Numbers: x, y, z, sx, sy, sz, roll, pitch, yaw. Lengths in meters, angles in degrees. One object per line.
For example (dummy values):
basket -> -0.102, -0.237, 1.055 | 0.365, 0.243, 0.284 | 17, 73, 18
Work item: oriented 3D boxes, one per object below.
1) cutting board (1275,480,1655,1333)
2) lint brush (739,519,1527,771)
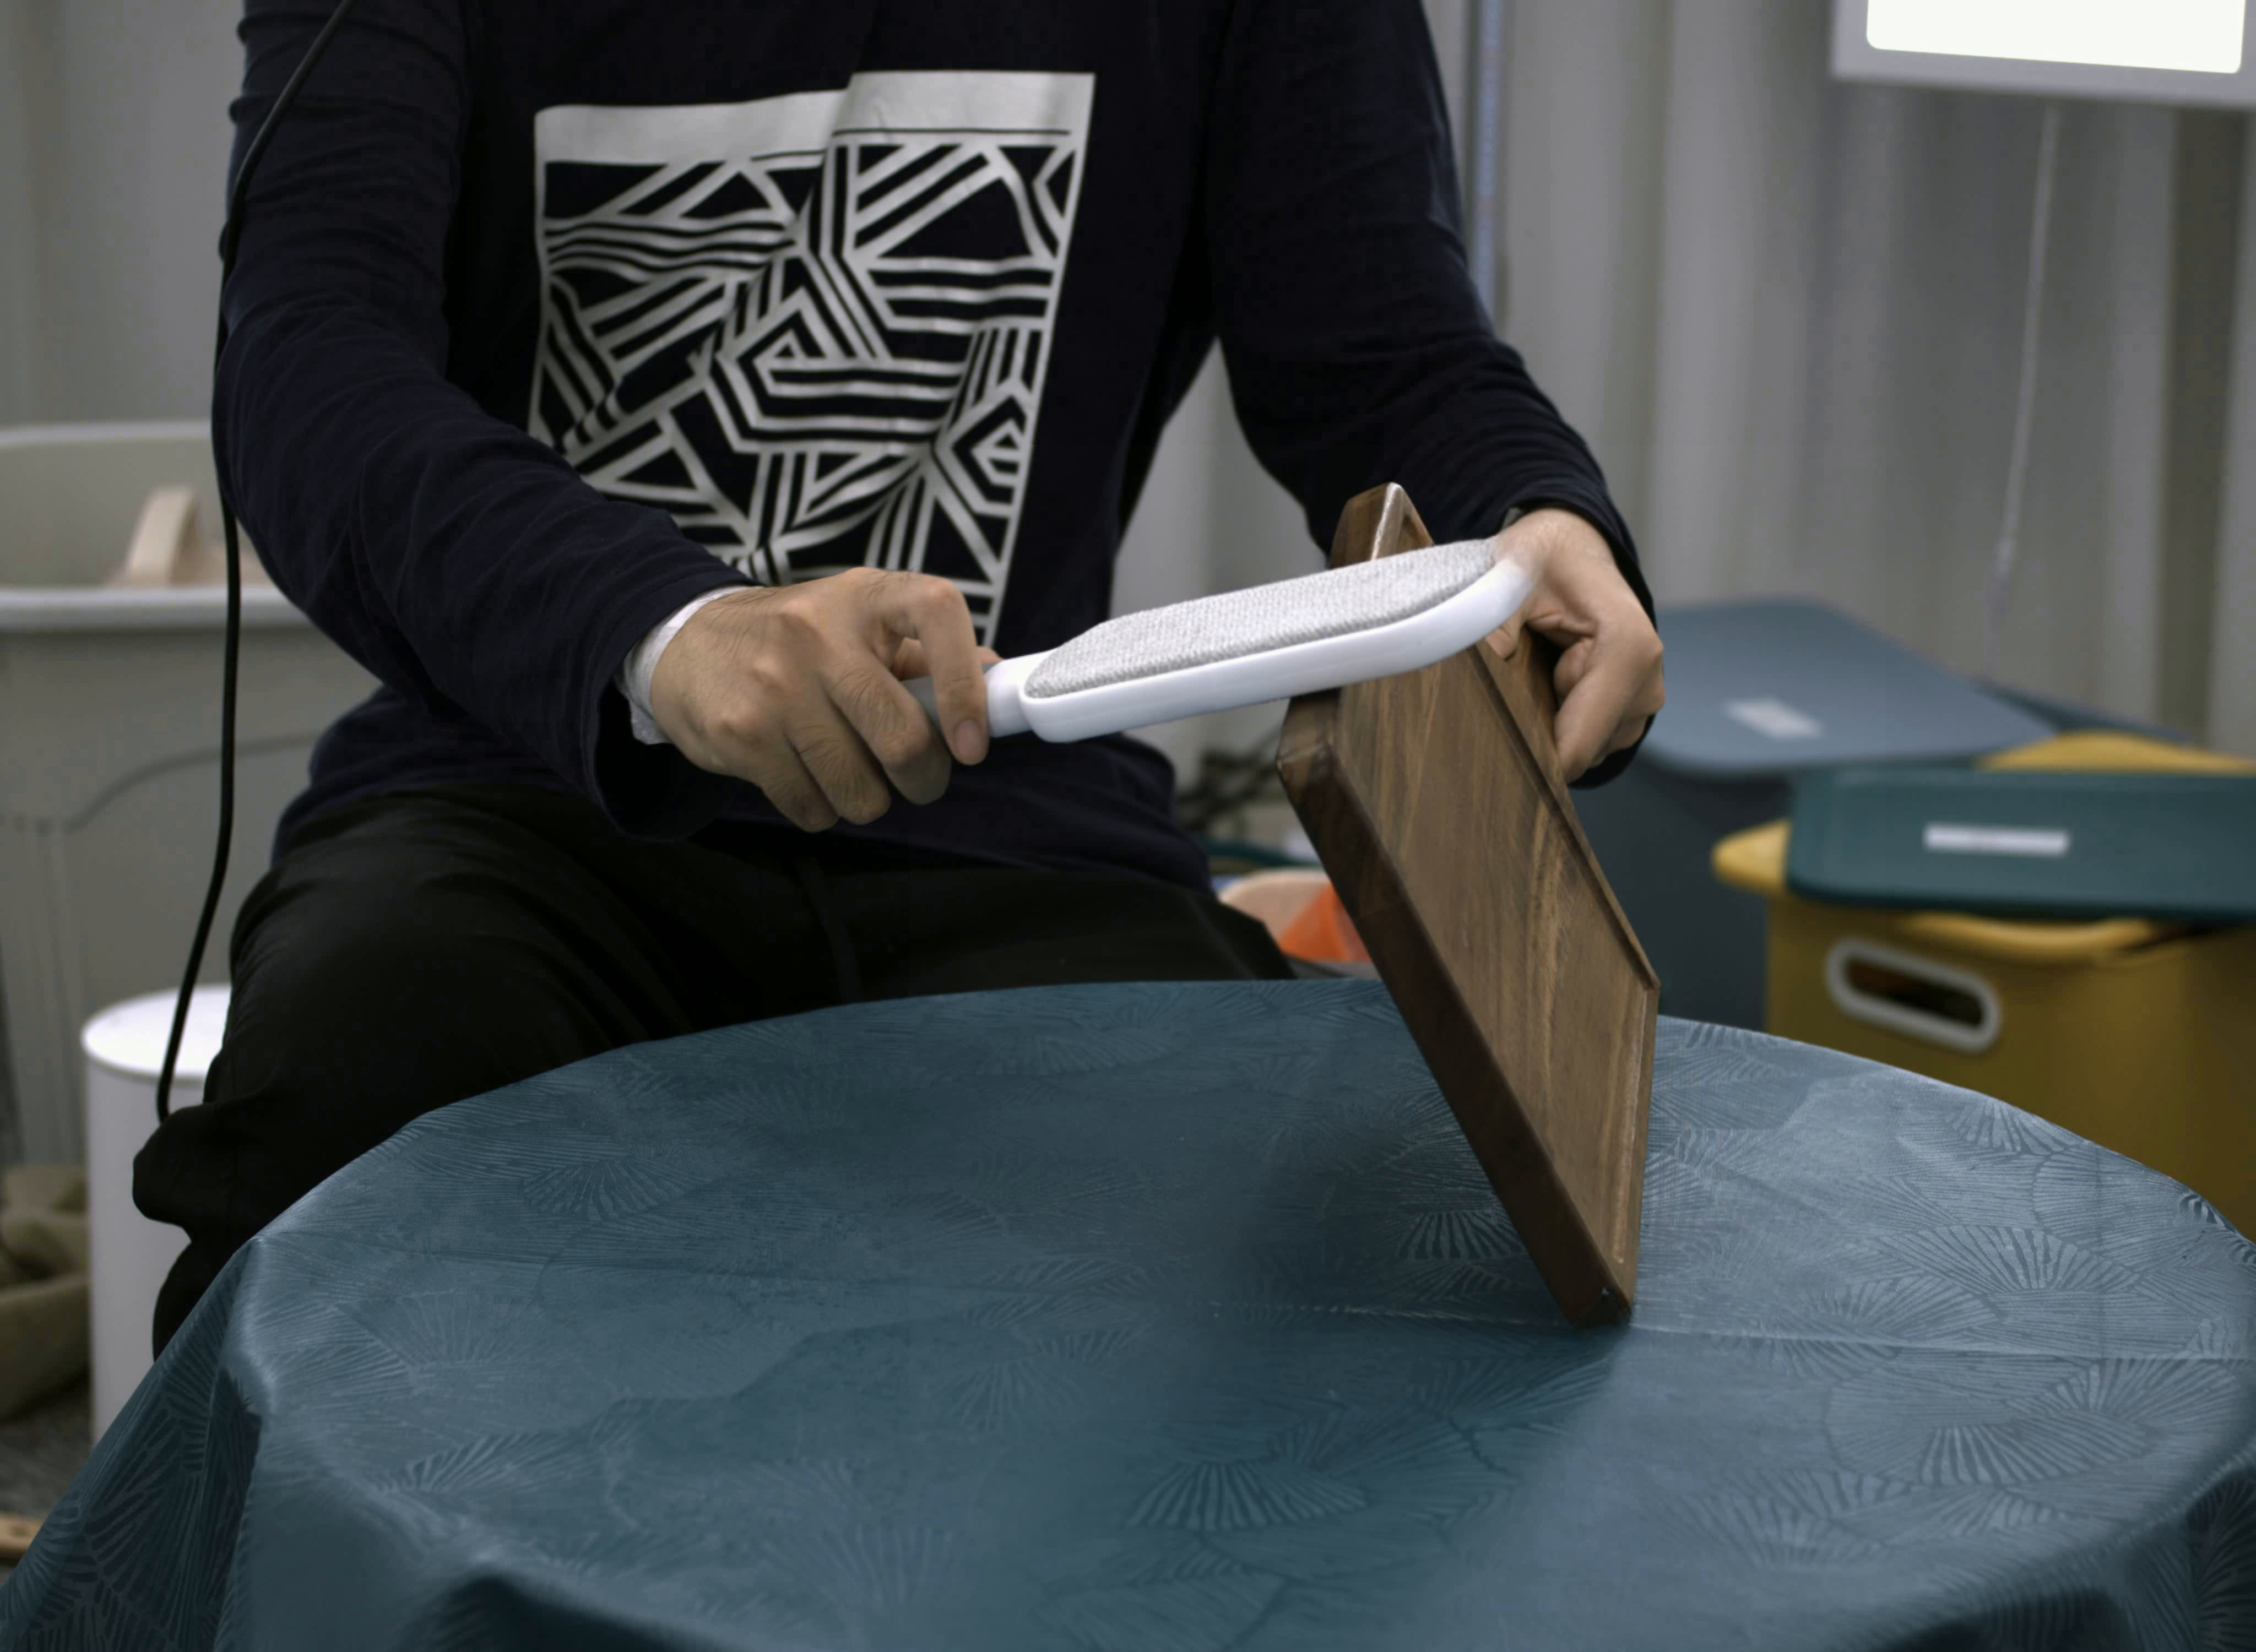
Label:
cutting board -> 0.112, 0.001, 1.636 | 0.023, 0.203, 0.350 | -24, 16, 15
lint brush -> -0.006, -0.049, 1.563 | 0.306, 0.021, 0.060 | -11, 29, 42
